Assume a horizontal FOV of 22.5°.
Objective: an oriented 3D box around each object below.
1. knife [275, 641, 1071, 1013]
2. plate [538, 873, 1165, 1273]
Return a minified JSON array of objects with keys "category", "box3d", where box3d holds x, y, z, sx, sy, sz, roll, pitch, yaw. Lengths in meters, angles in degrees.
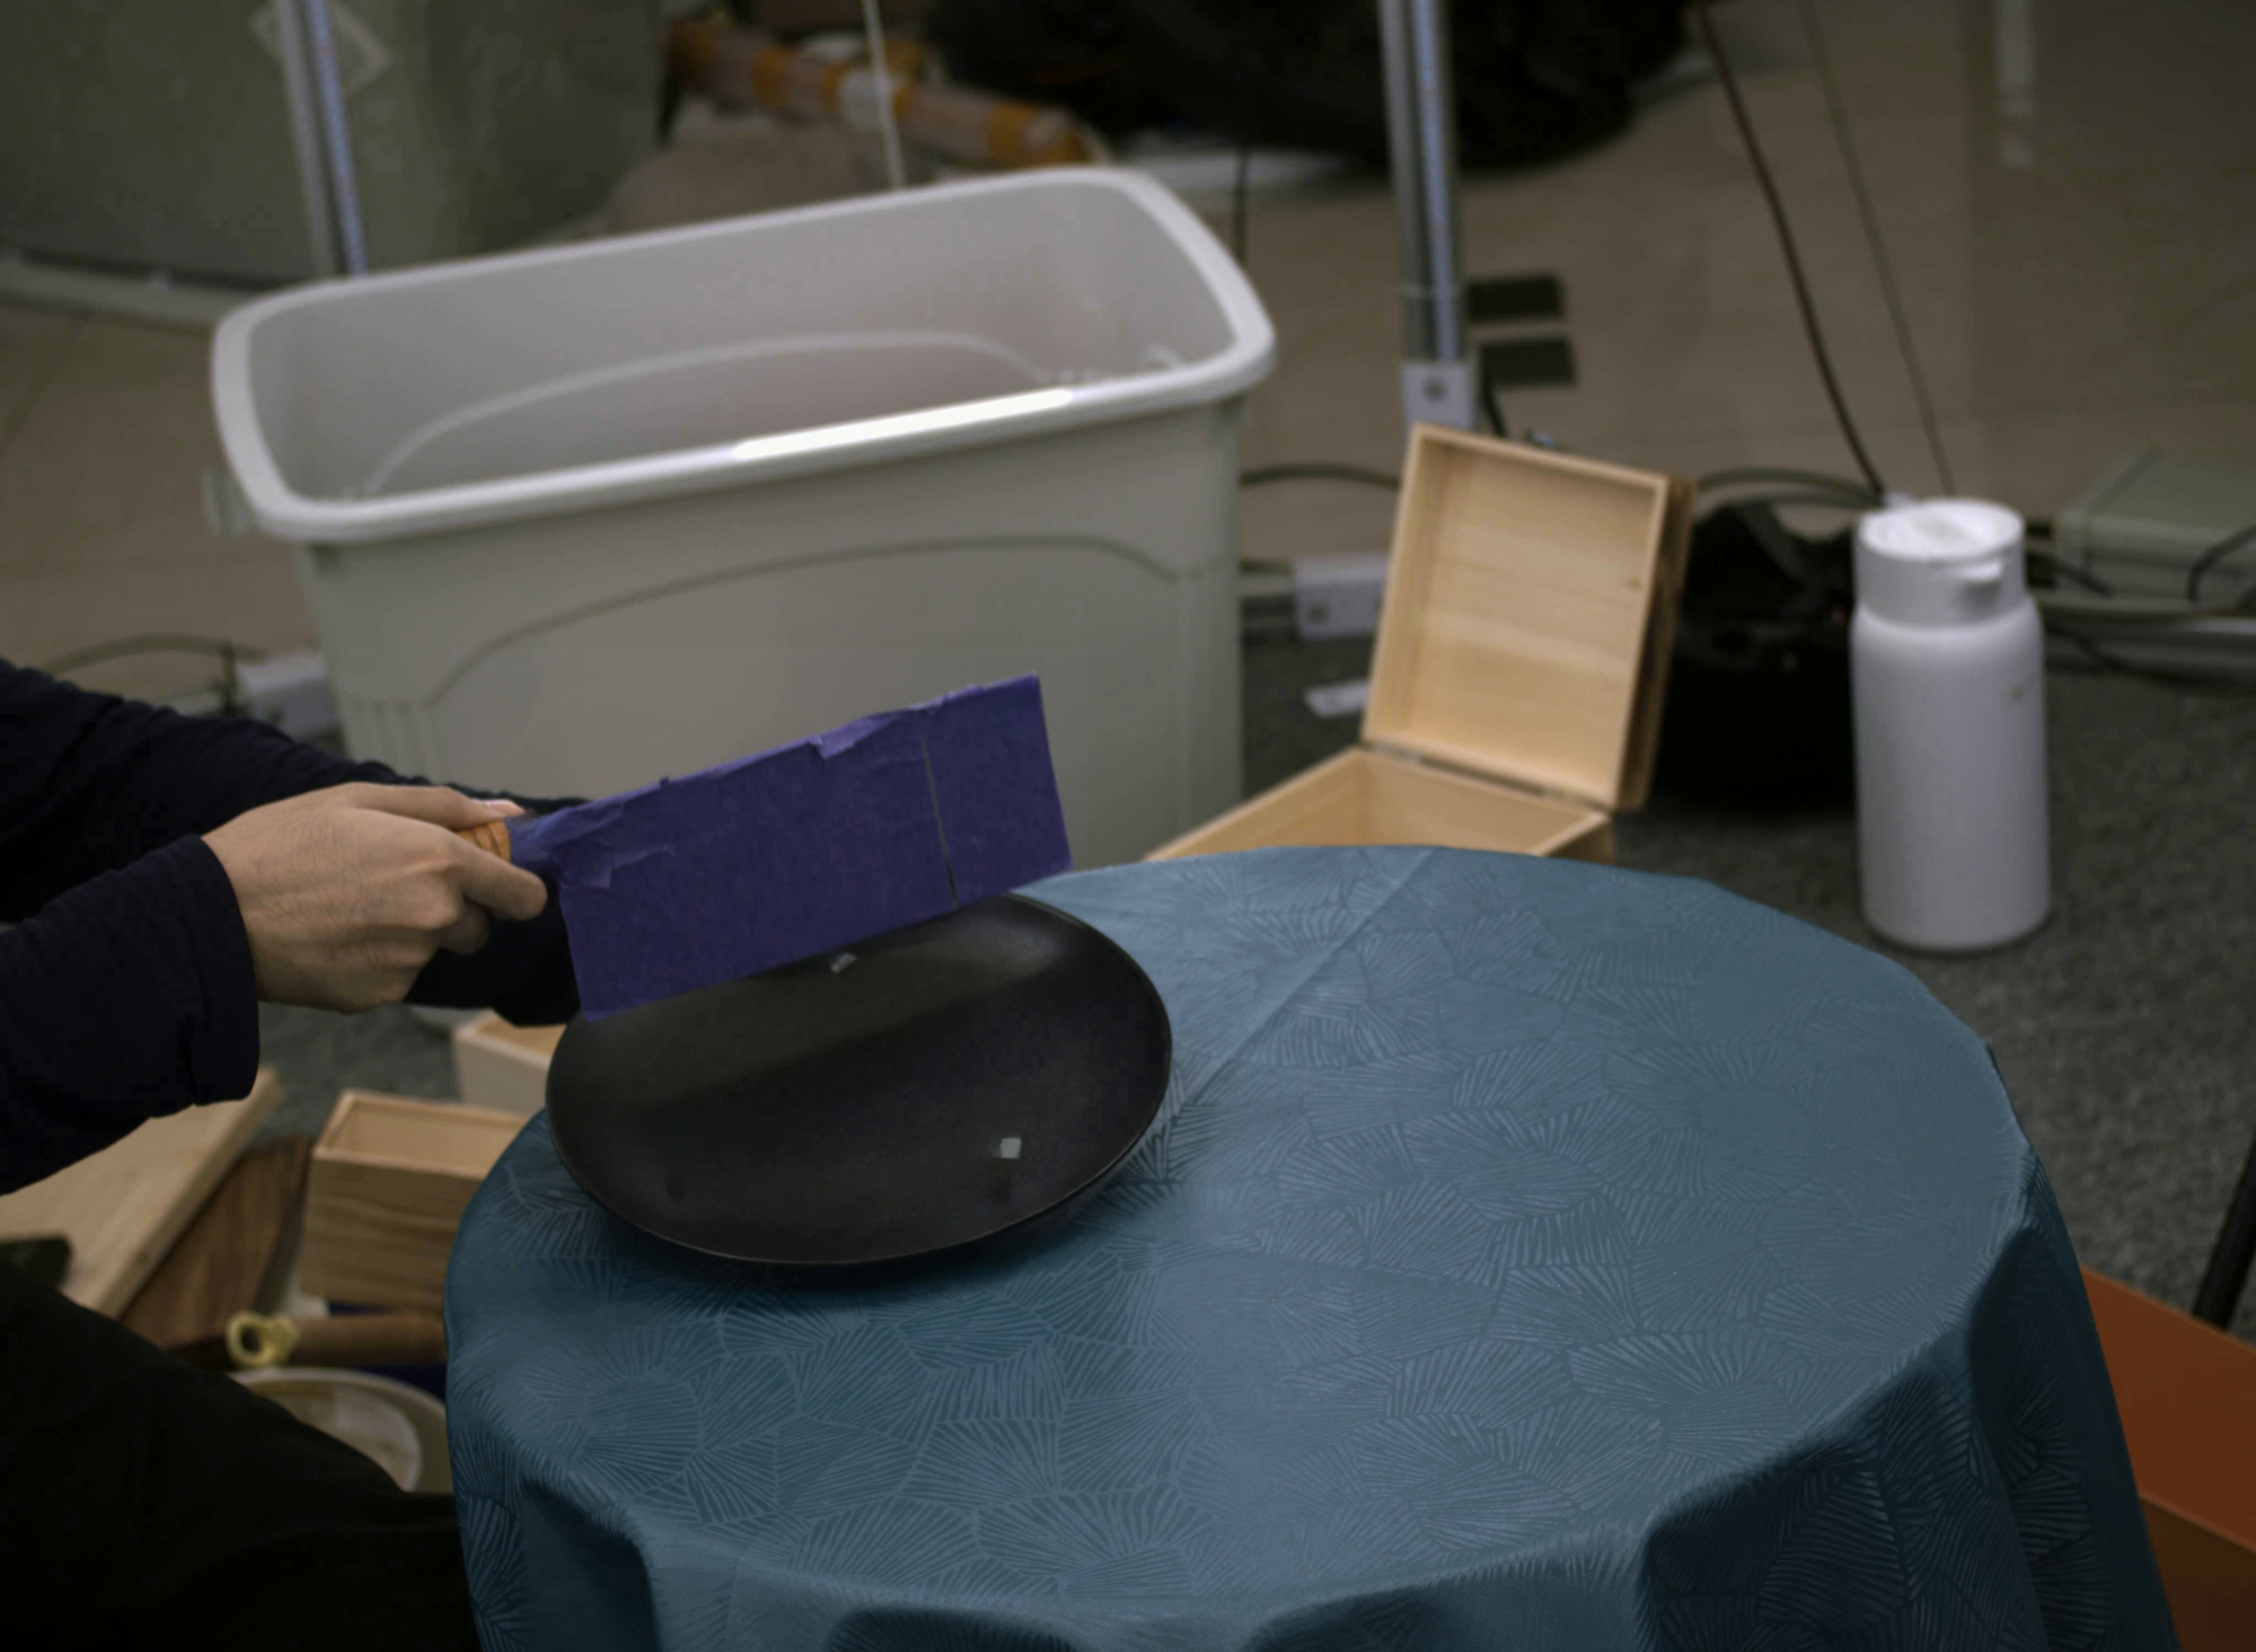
[{"category":"knife","box3d":[-0.168,0.019,2.179,0.314,0.105,0.032,-17,28,-15]},{"category":"plate","box3d":[-0.106,0.097,2.194,0.244,0.024,0.240,-3,38,3]}]
